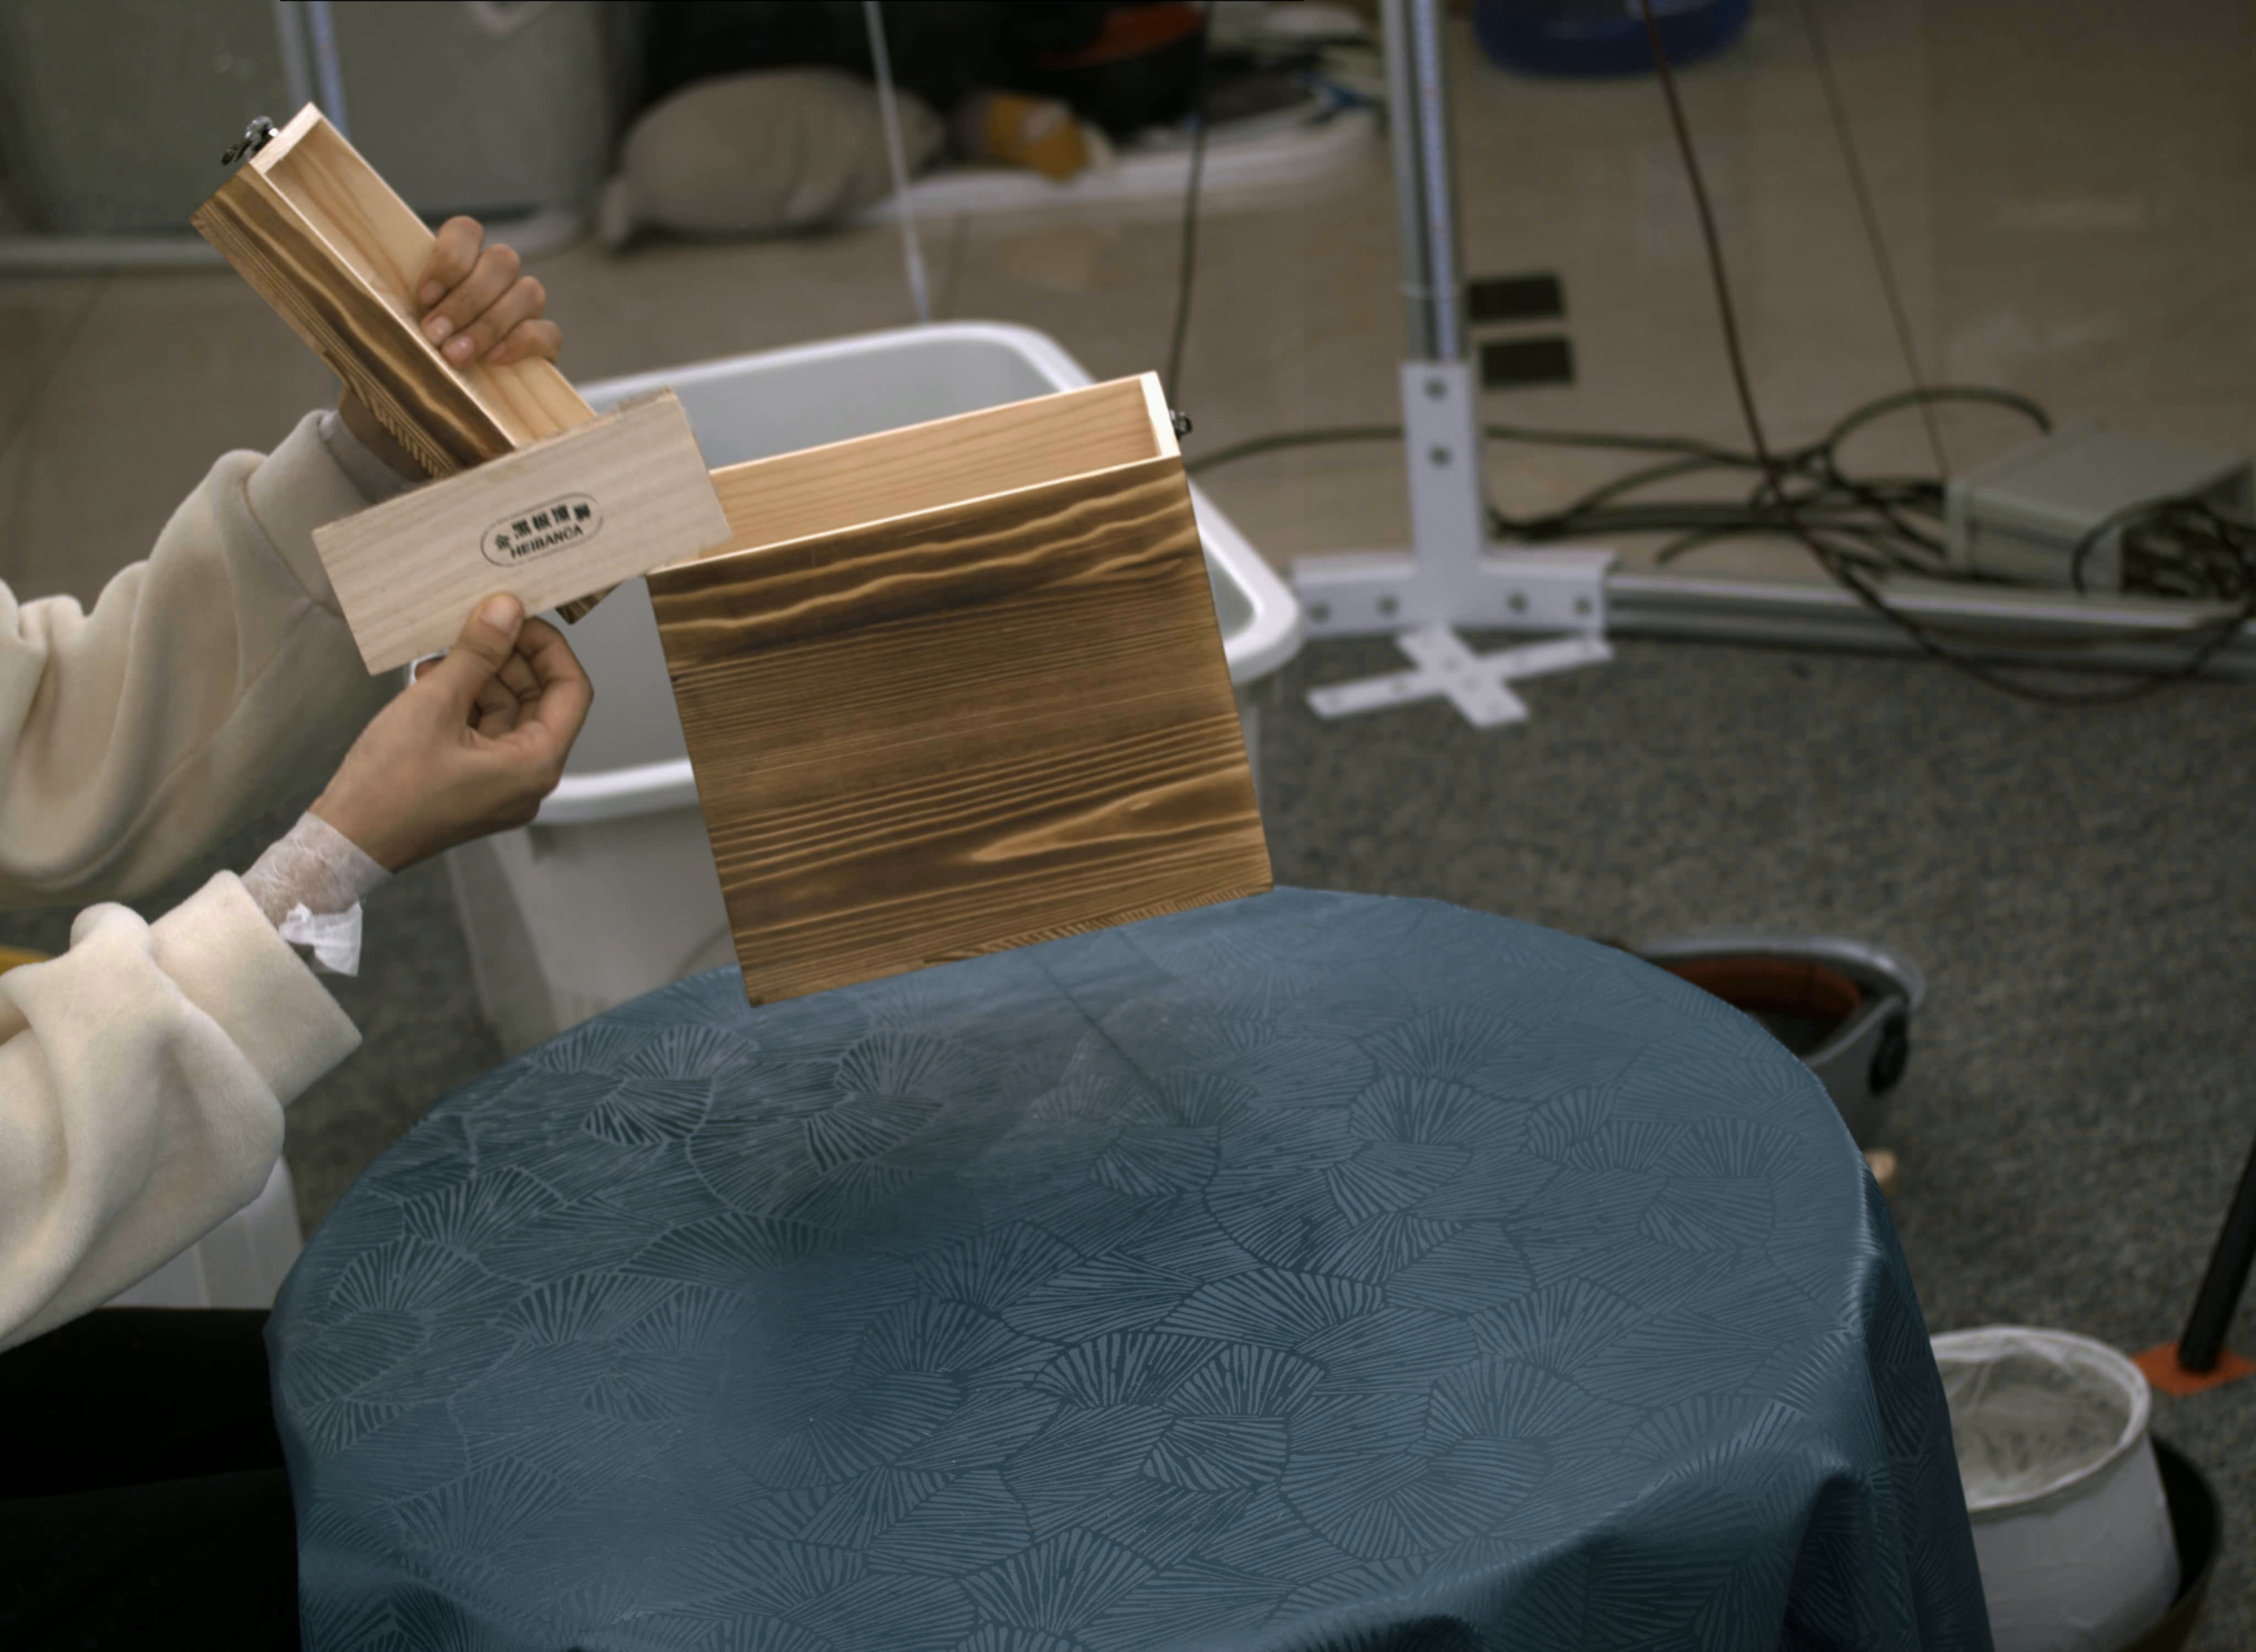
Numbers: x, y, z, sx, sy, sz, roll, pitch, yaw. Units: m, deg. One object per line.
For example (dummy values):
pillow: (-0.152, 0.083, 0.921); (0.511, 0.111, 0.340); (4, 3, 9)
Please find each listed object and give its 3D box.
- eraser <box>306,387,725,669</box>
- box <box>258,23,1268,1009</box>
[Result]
eraser: (-0.219, -0.108, 2.027); (0.139, 0.058, 0.029); (-20, 16, 2)
box: (-0.133, -0.138, 2.136); (0.321, 0.380, 0.206); (-11, 16, 0)
